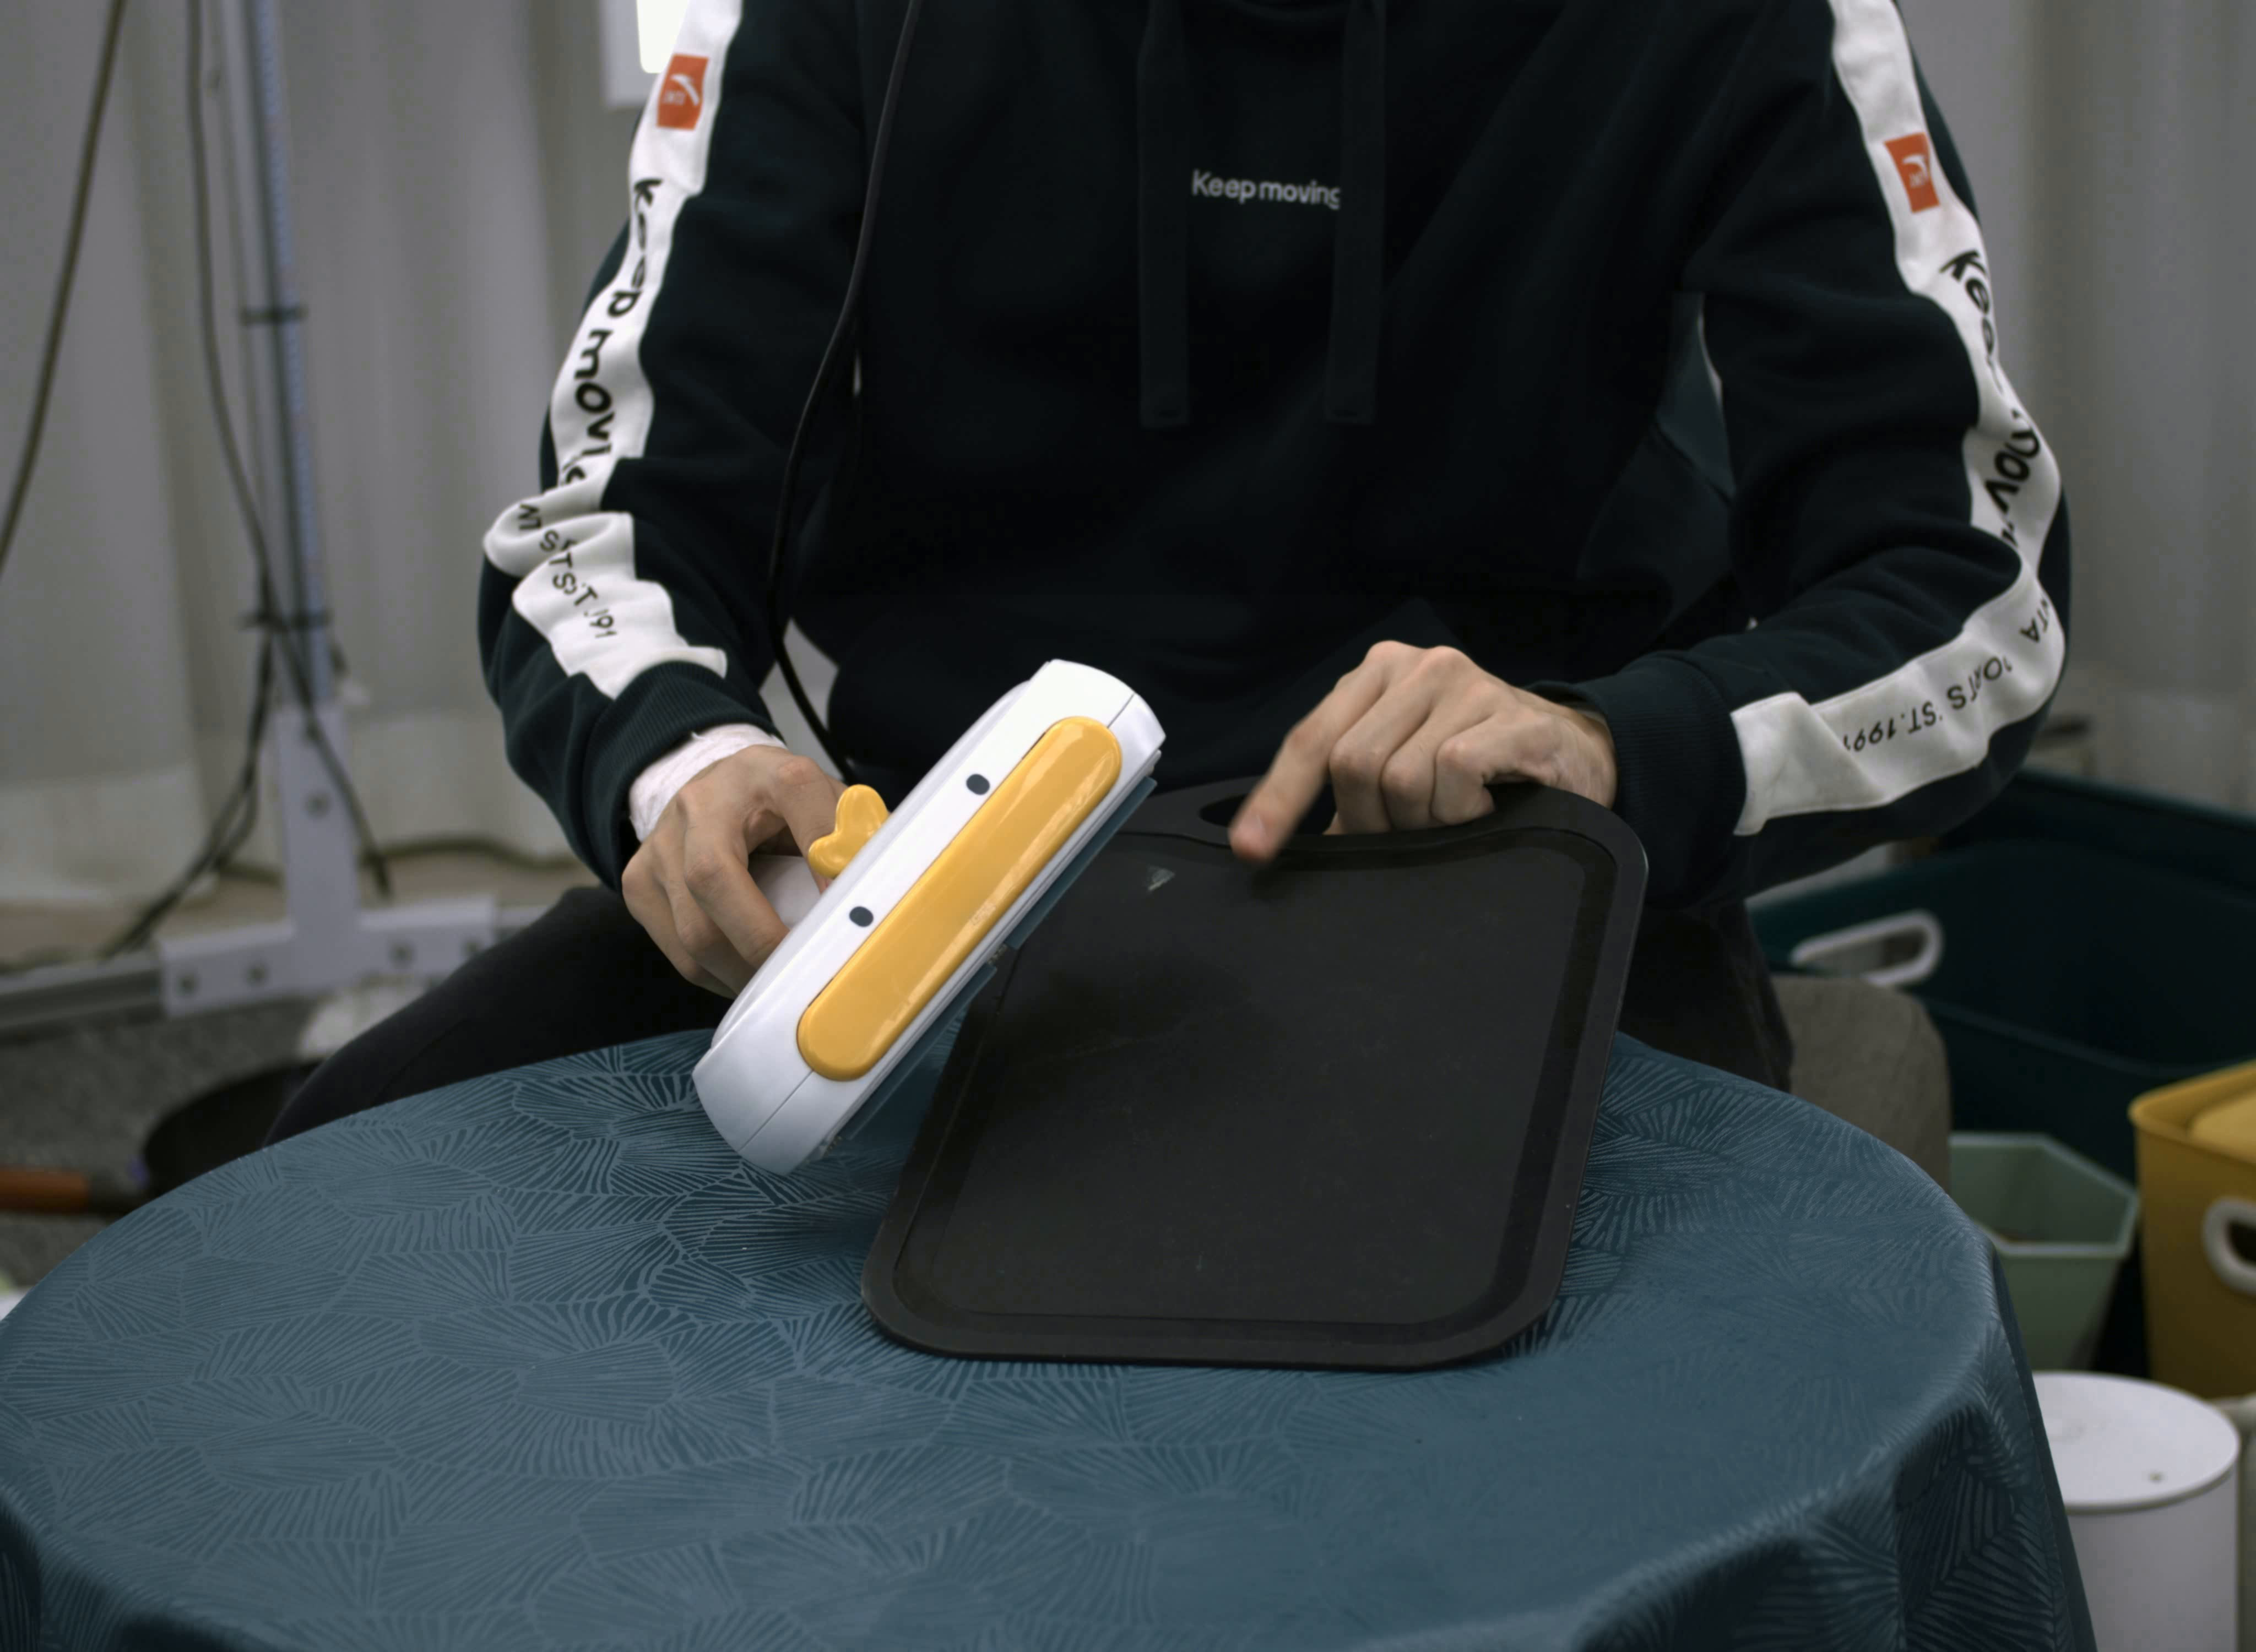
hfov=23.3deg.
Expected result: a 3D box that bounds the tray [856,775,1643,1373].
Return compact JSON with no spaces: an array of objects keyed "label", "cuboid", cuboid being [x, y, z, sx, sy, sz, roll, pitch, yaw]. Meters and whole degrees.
[{"label":"tray","cuboid":[0.044,0.068,1.696,0.211,0.009,0.329,0,31,13]}]

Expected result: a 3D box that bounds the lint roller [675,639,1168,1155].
[{"label":"lint roller","cuboid":[-0.087,0.028,1.757,0.194,0.074,0.192,-55,13,-25]}]
